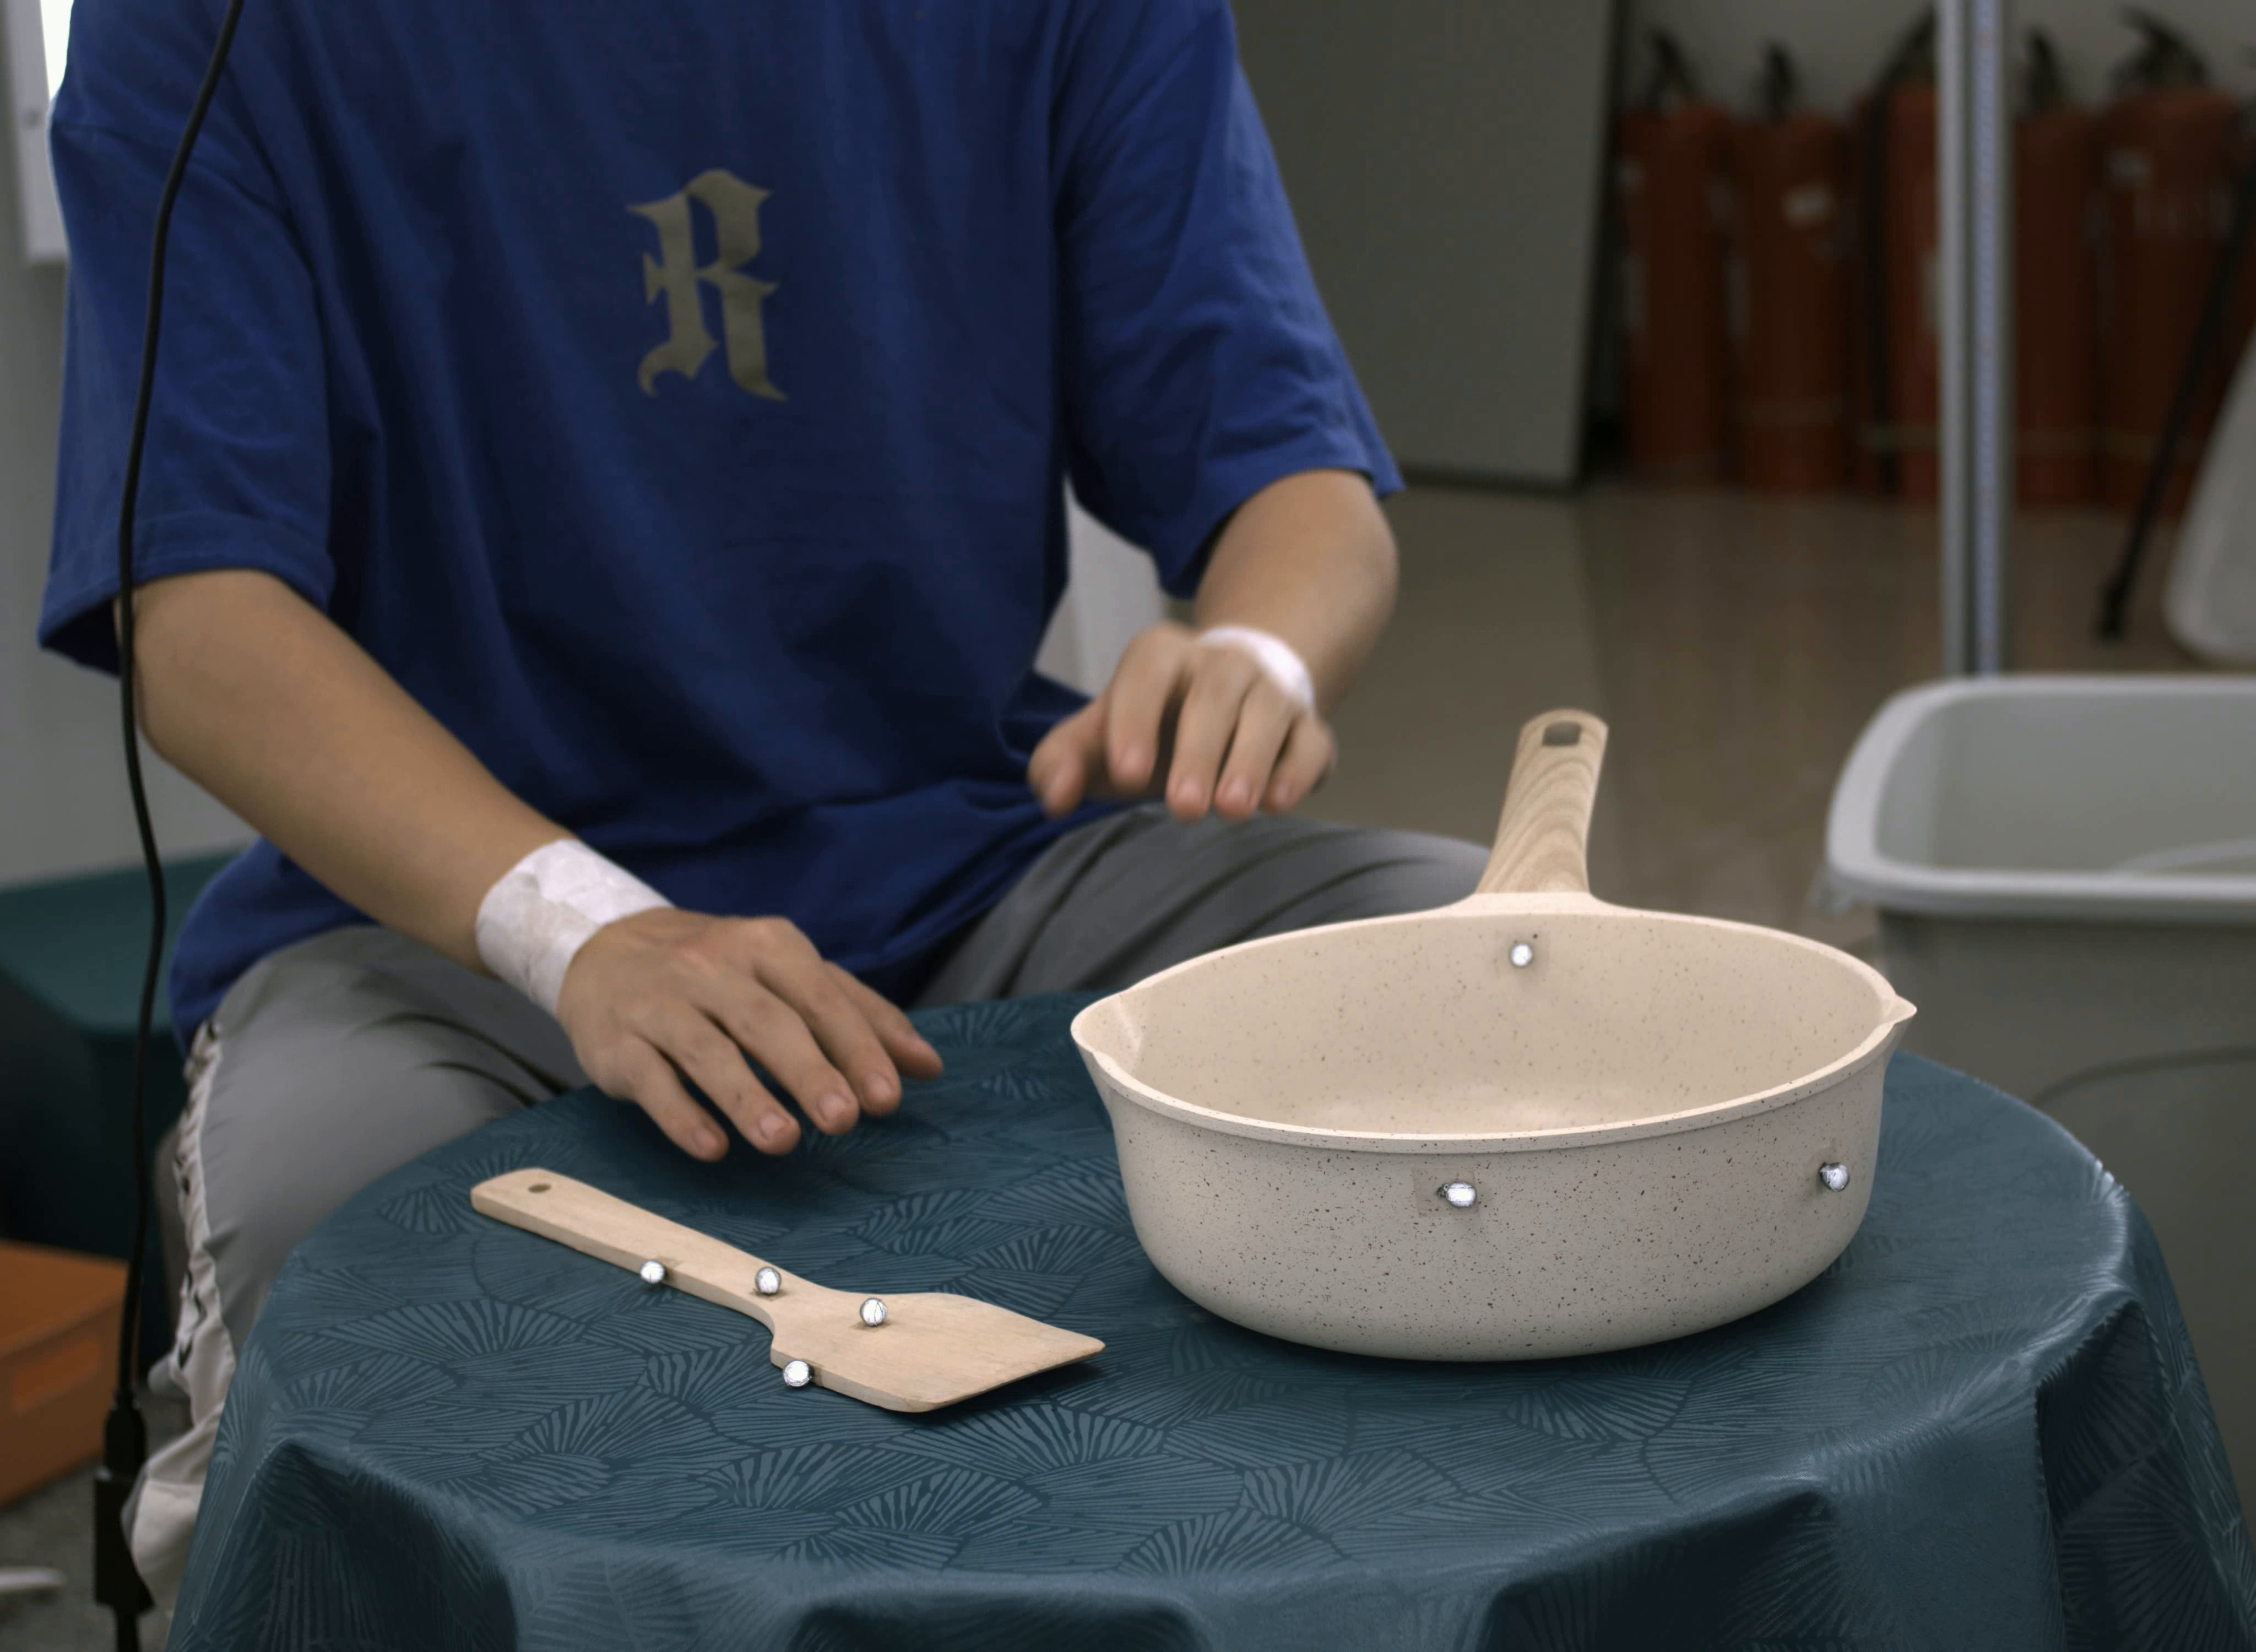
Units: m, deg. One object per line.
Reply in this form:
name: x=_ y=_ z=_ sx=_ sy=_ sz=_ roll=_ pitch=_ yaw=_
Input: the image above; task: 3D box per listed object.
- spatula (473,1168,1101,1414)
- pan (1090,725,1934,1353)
spatula: x=-0.122 y=0.143 z=1.698 sx=0.071 sy=0.011 sz=0.296 roll=-16 pitch=18 yaw=-35
pan: x=0.132 y=0.065 z=1.751 sx=0.261 sy=0.103 sz=0.433 roll=-3 pitch=13 yaw=9
